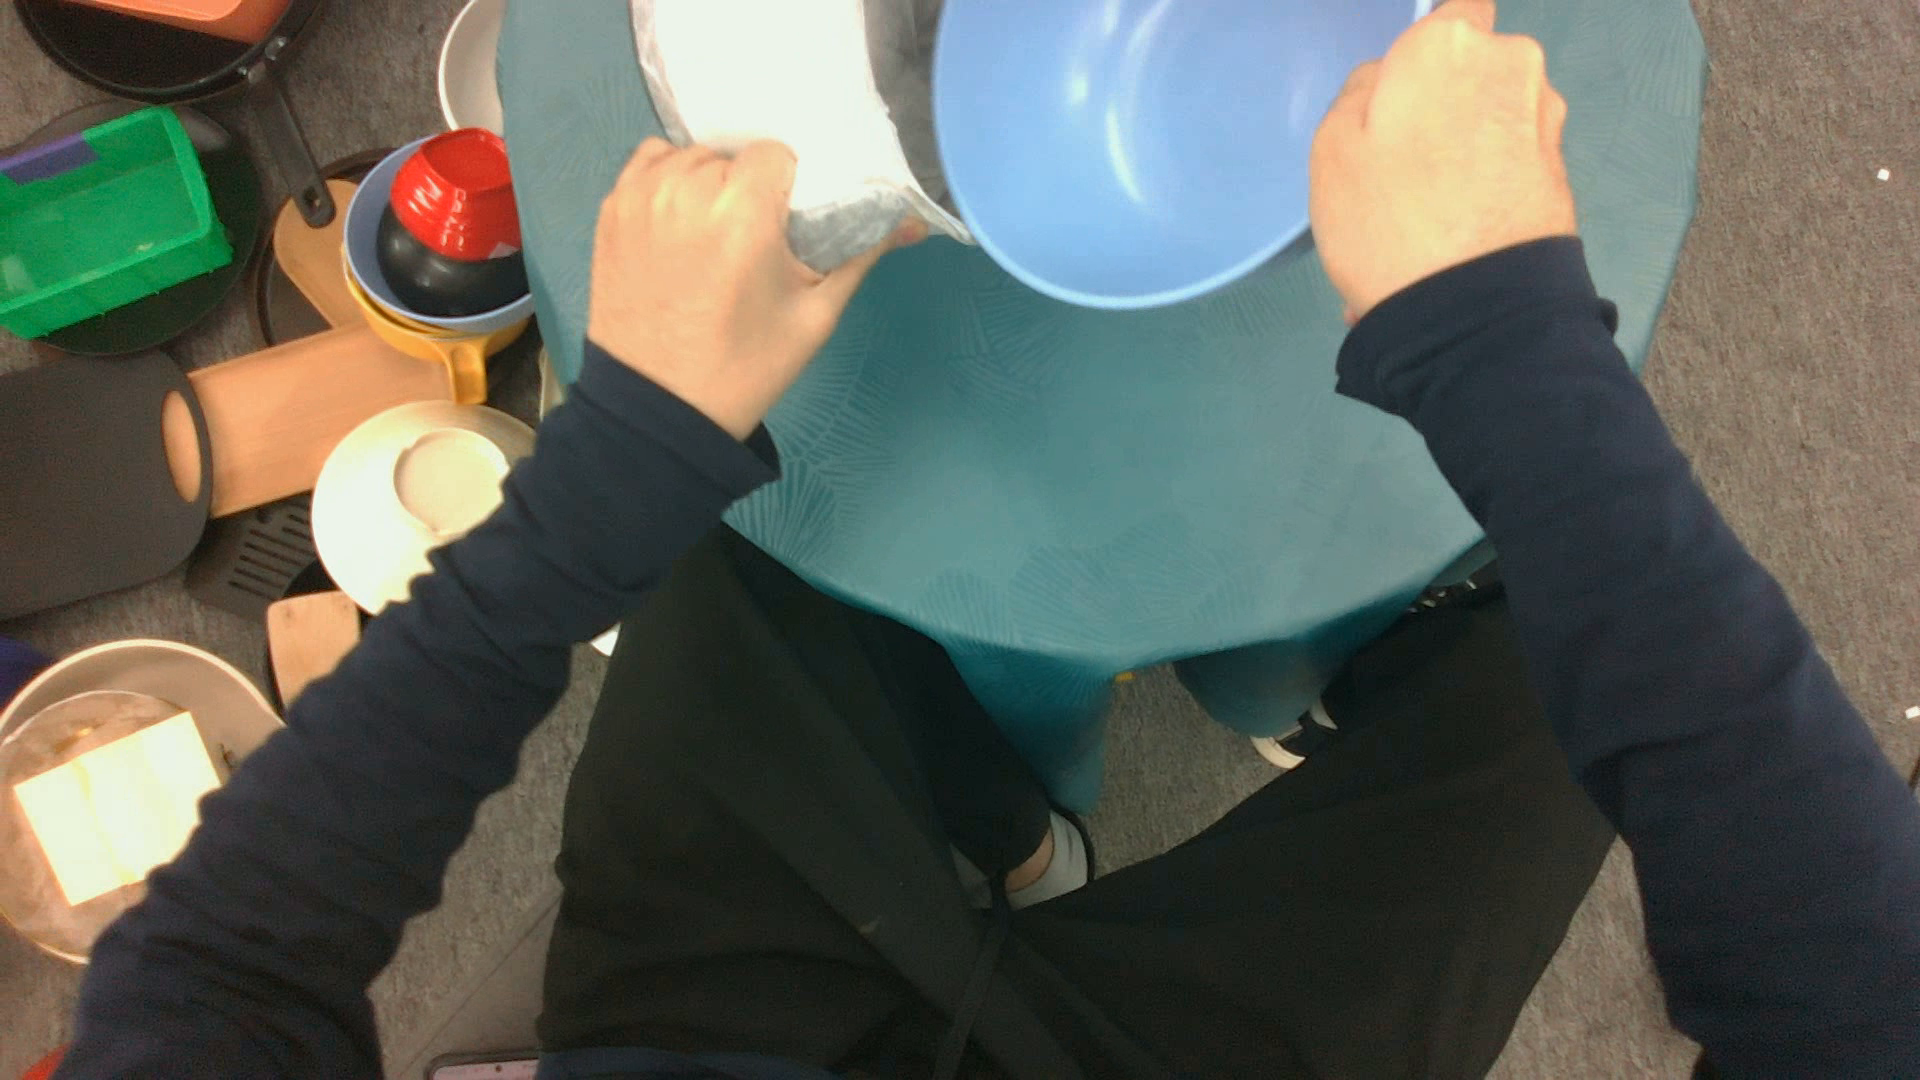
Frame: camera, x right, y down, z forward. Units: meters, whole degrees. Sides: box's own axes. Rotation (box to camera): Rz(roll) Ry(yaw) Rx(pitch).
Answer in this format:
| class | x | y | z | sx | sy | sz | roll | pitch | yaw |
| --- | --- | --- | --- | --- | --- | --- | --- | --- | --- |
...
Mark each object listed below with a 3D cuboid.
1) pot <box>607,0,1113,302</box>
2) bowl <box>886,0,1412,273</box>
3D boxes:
| class | x | y | z | sx | sy | sz | roll | pitch | yaw |
| --- | --- | --- | --- | --- | --- | --- | --- | --- | --- |
| pot | -0.048 | -0.192 | 0.552 | 0.136 | 0.178 | 0.234 | 9 | 65 | 35 |
| bowl | 0.079 | -0.185 | 0.518 | 0.196 | 0.095 | 0.197 | -5 | 80 | 29 |
